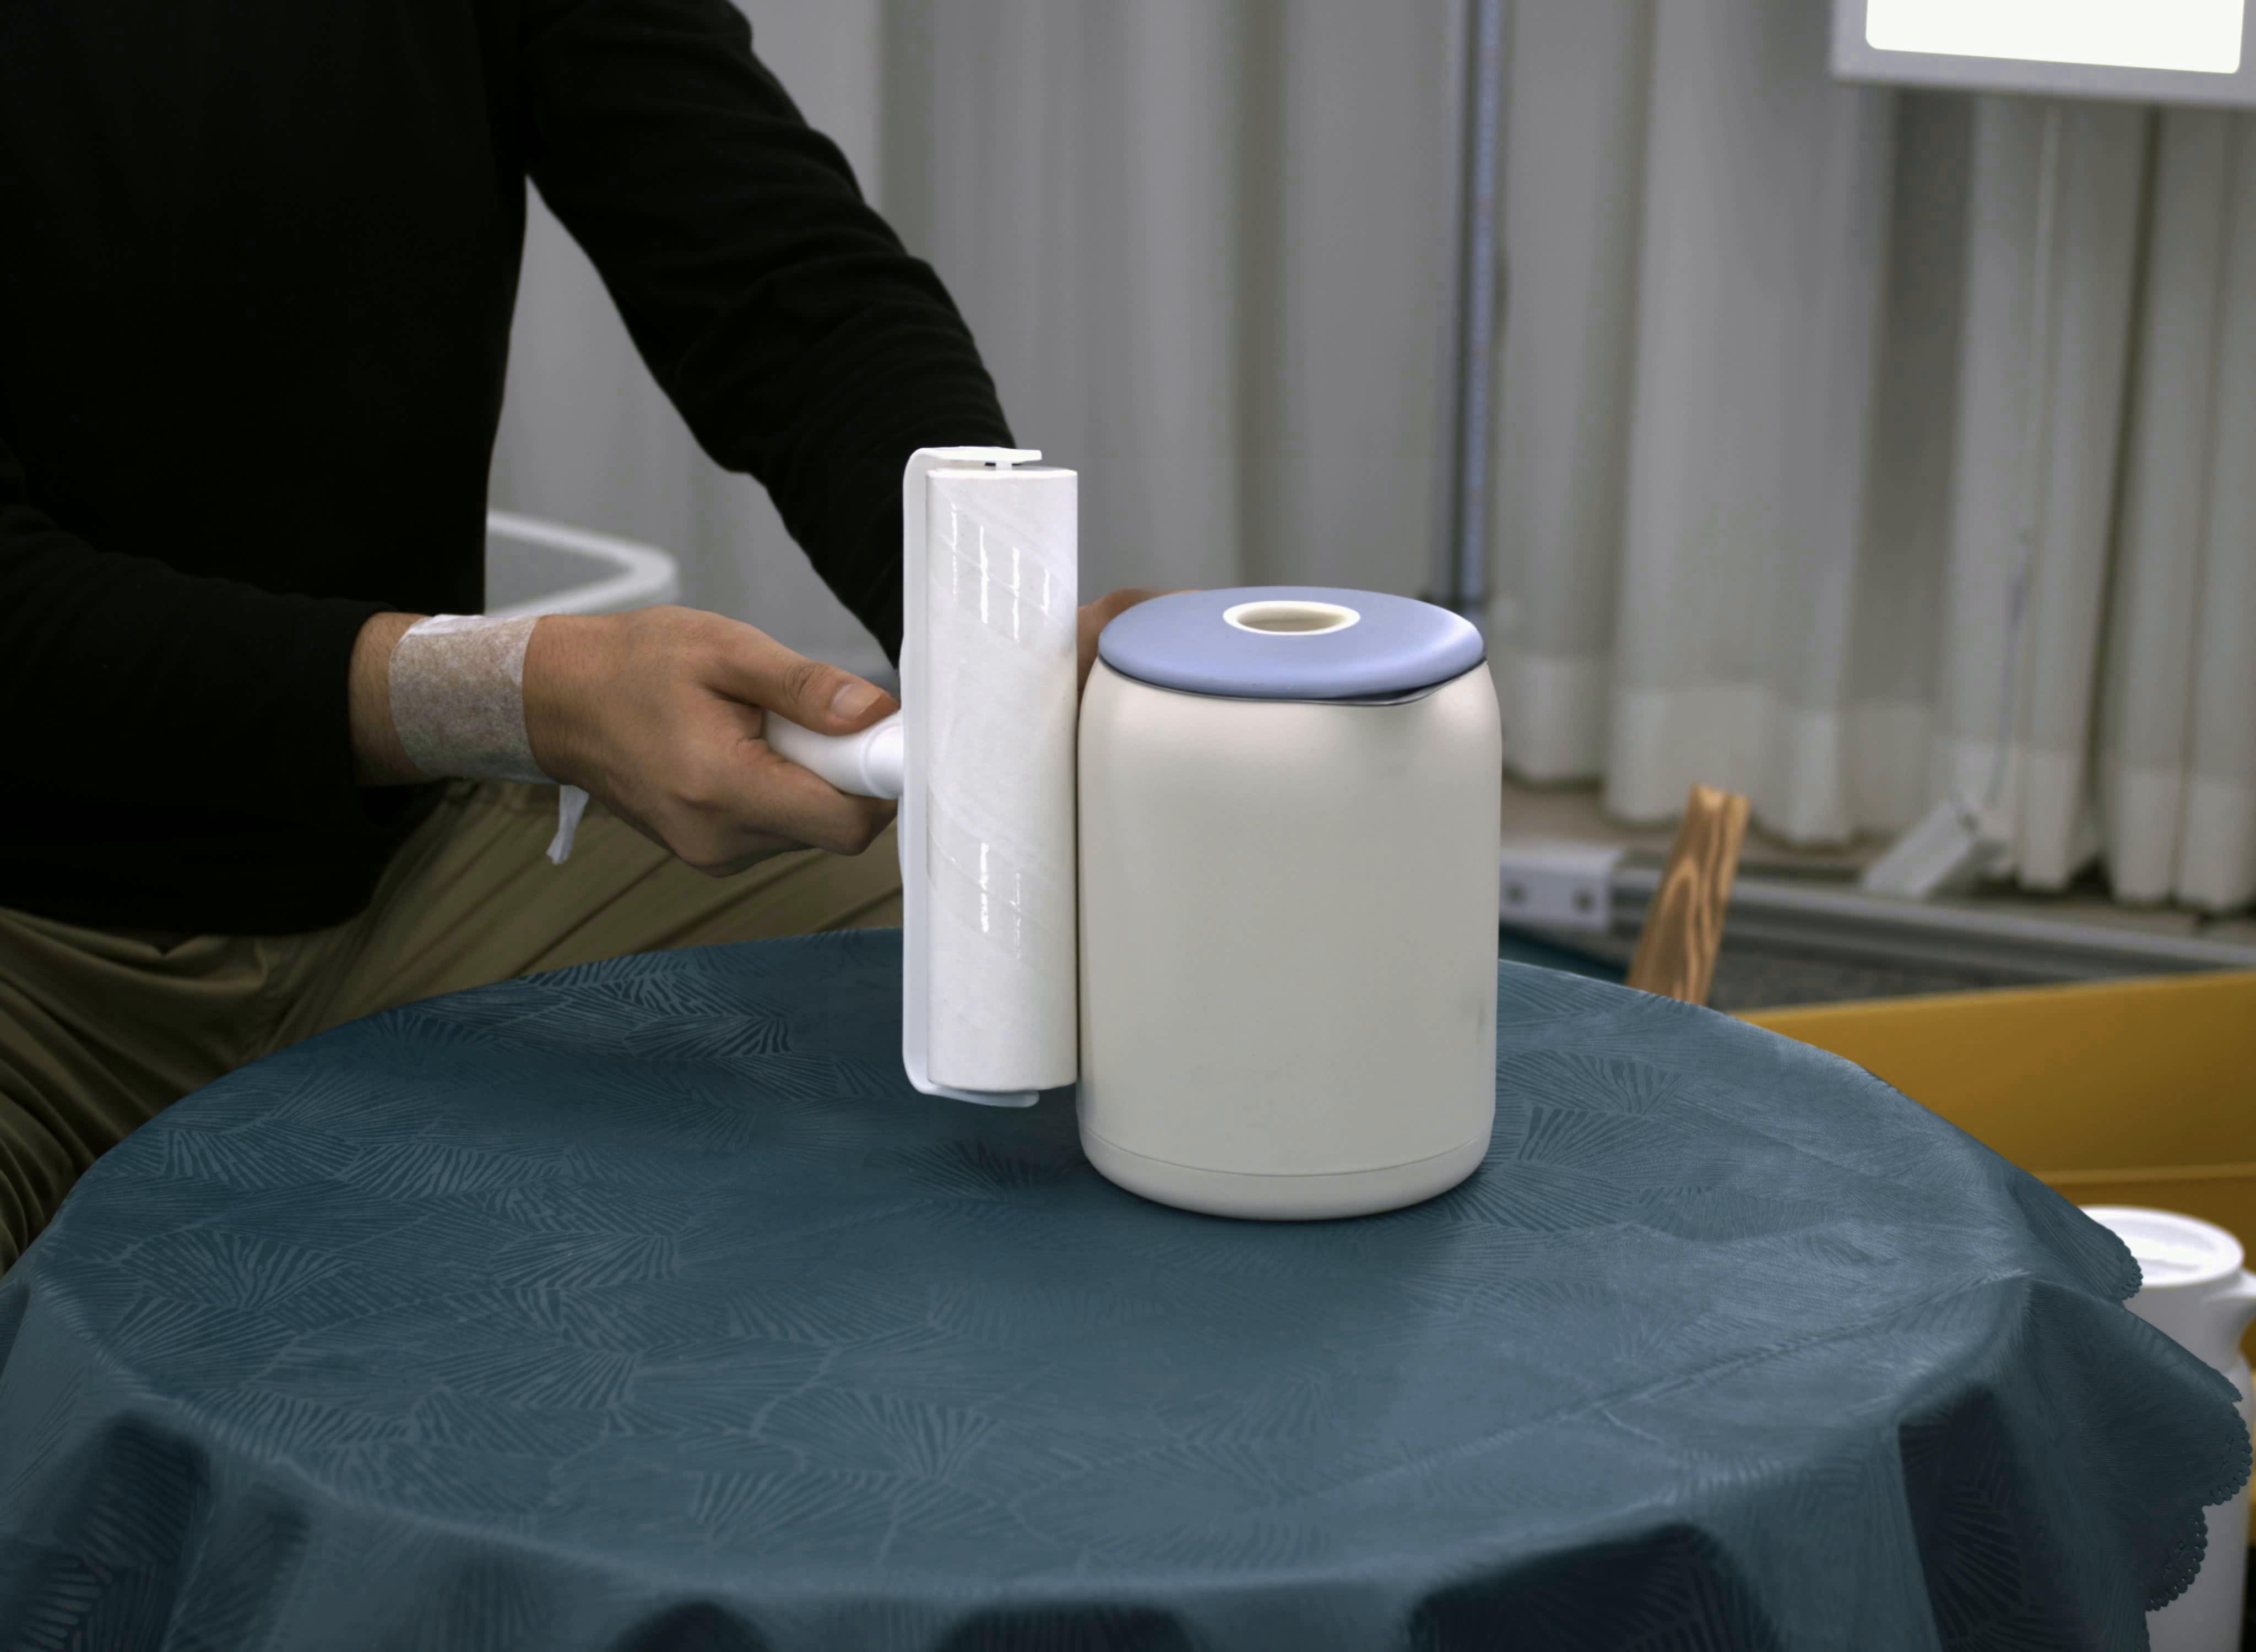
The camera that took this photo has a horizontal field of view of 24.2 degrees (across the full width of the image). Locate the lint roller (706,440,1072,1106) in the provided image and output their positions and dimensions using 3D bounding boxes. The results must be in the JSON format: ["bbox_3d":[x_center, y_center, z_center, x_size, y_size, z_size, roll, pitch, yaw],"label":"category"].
[{"bbox_3d":[-0.088,-0.023,1.689,0.048,0.204,0.223,-6,8,-31],"label":"lint roller"}]

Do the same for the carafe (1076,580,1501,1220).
[{"bbox_3d":[0.038,0.016,1.647,0.133,0.184,0.189,-8,16,-27],"label":"carafe"}]
